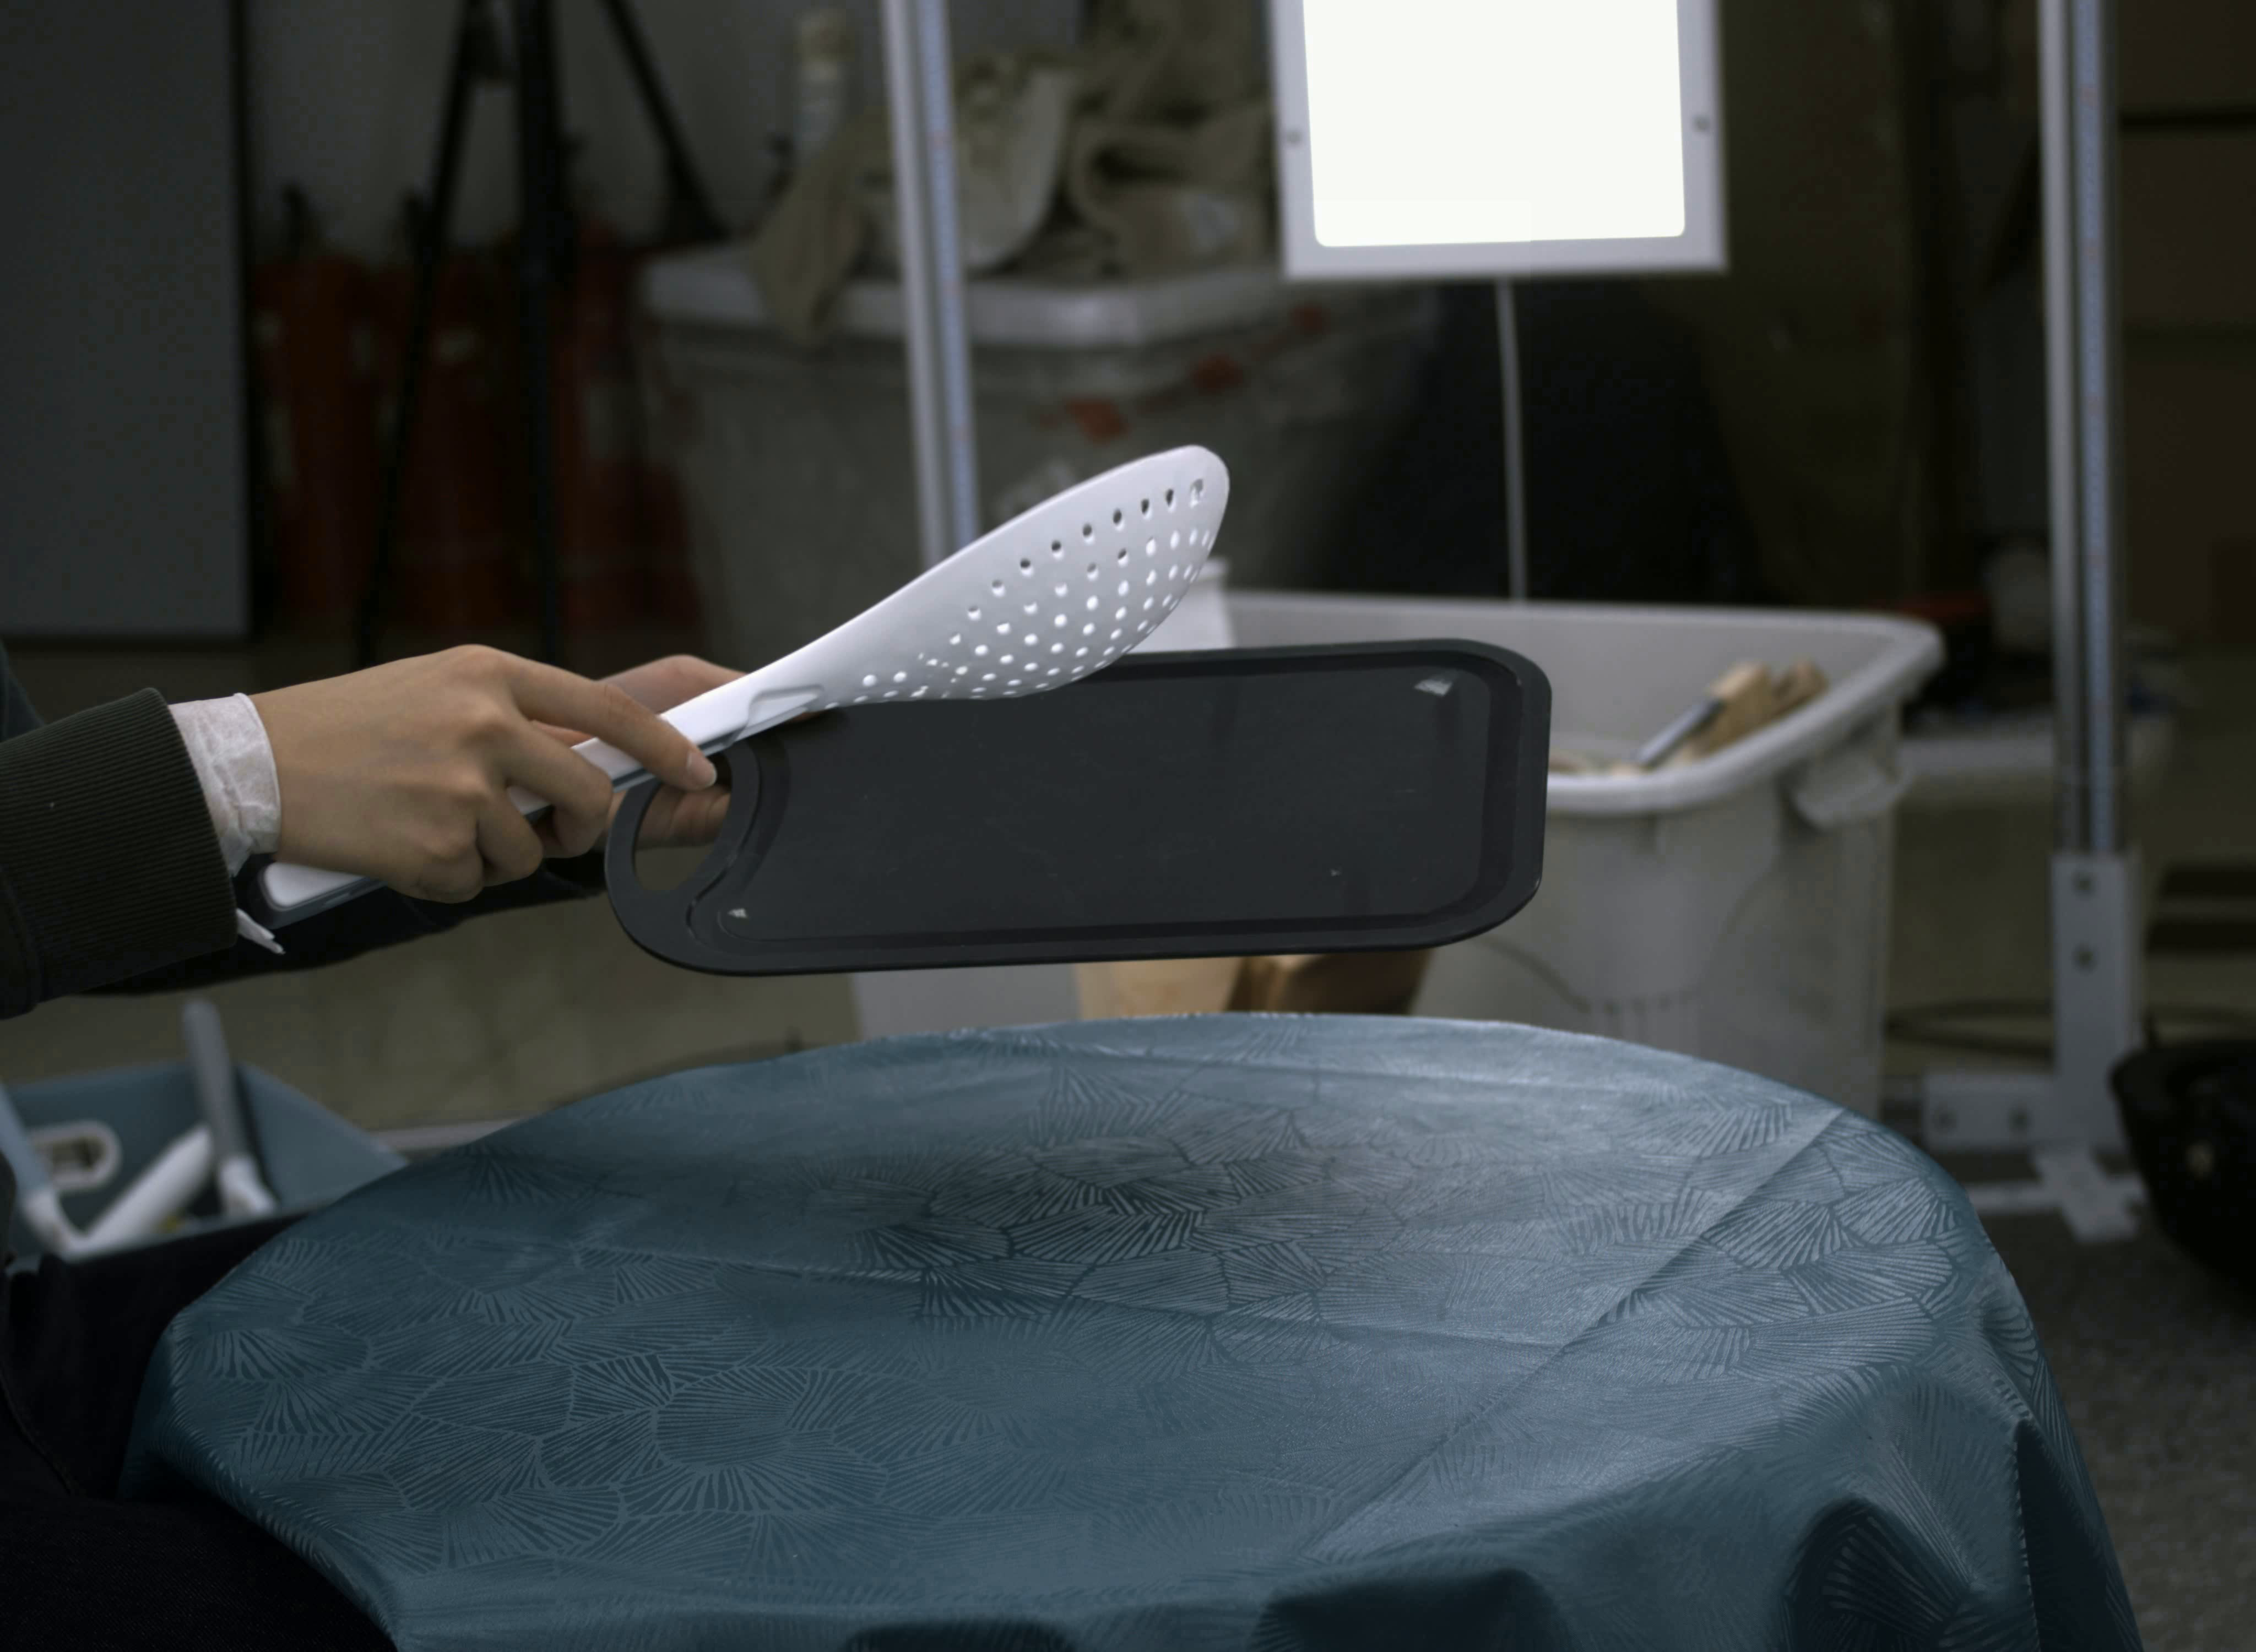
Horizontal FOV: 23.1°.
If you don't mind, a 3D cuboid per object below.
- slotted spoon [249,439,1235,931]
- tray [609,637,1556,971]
[{"bbox_3d":[-0.113,-0.041,1.705,0.343,0.046,0.138,-19,-11,-22],"label":"slotted spoon"},{"bbox_3d":[-0.017,-0.010,1.884,0.327,0.010,0.209,-3,30,10],"label":"tray"}]
